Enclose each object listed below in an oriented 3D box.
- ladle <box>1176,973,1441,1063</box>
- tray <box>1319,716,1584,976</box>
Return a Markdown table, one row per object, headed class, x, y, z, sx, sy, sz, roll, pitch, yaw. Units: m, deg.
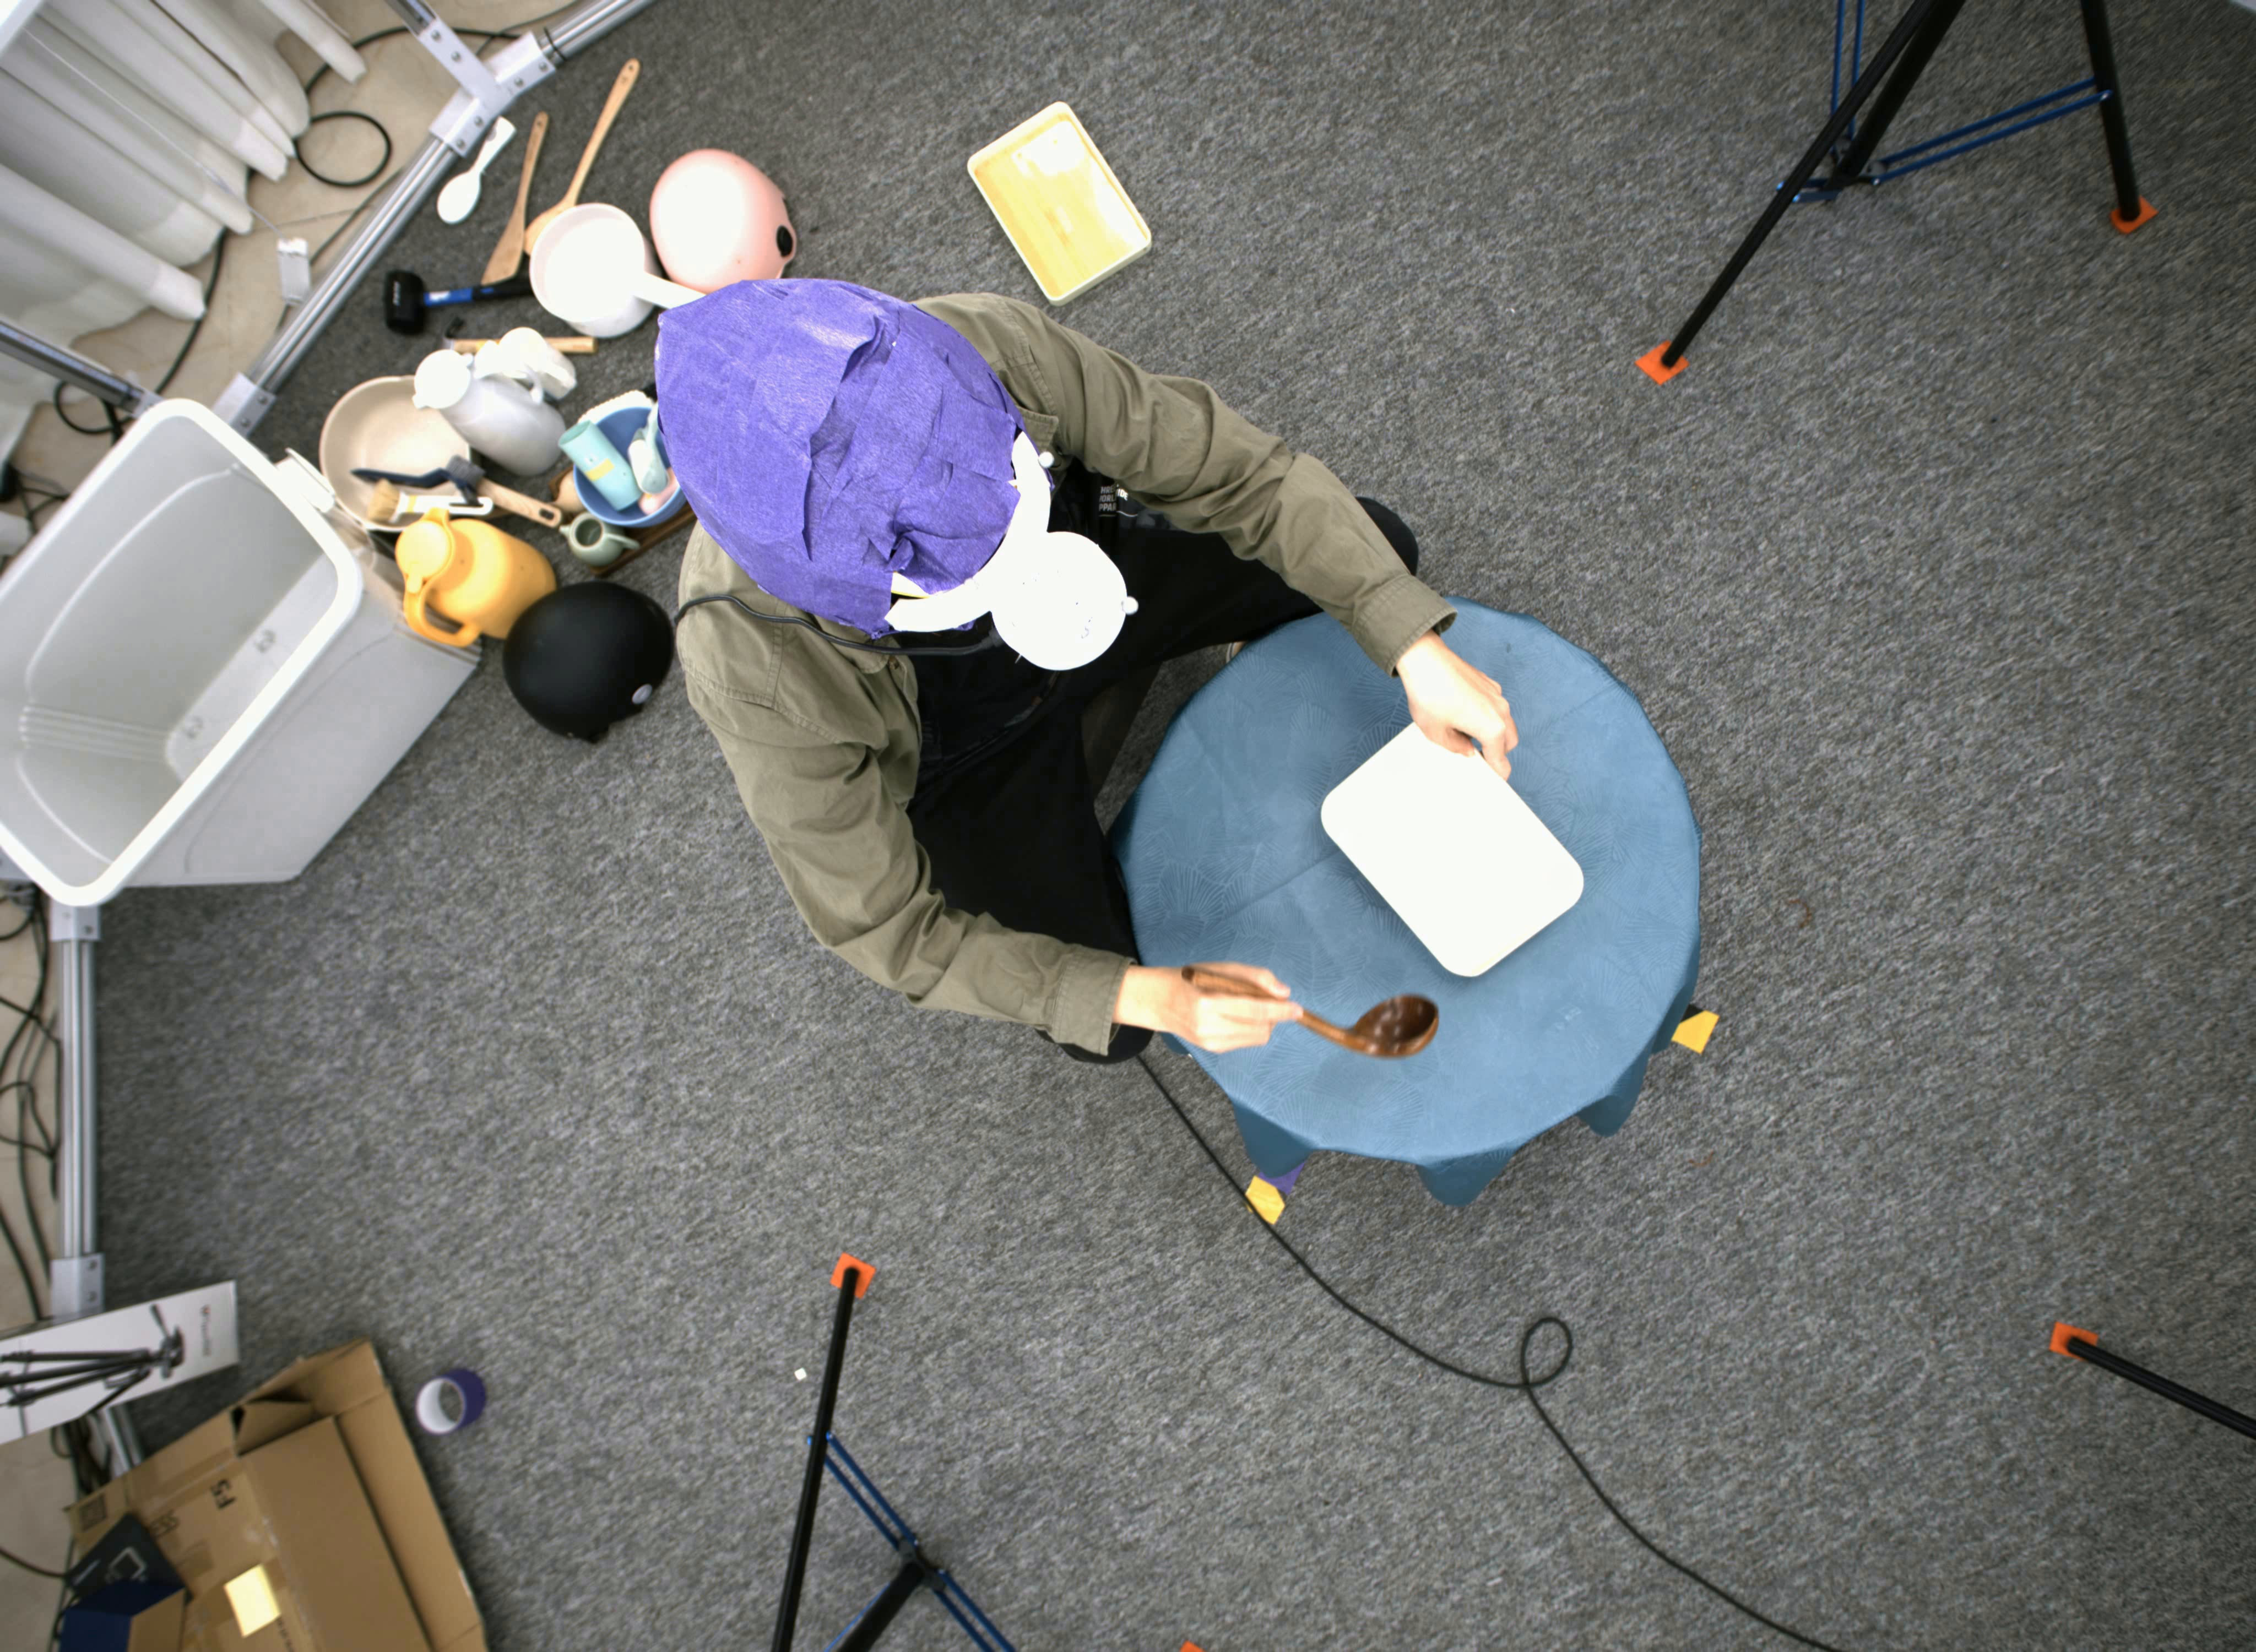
| class | x | y | z | sx | sy | sz | roll | pitch | yaw |
| --- | --- | --- | --- | --- | --- | --- | --- | --- | --- |
| ladle | 0.172 | 0.155 | 1.269 | 0.275 | 0.082 | 0.076 | 25 | 87 | -26 |
| tray | 0.319 | 0.019 | 1.366 | 0.174 | 0.017 | 0.239 | -42 | 90 | 24 |
